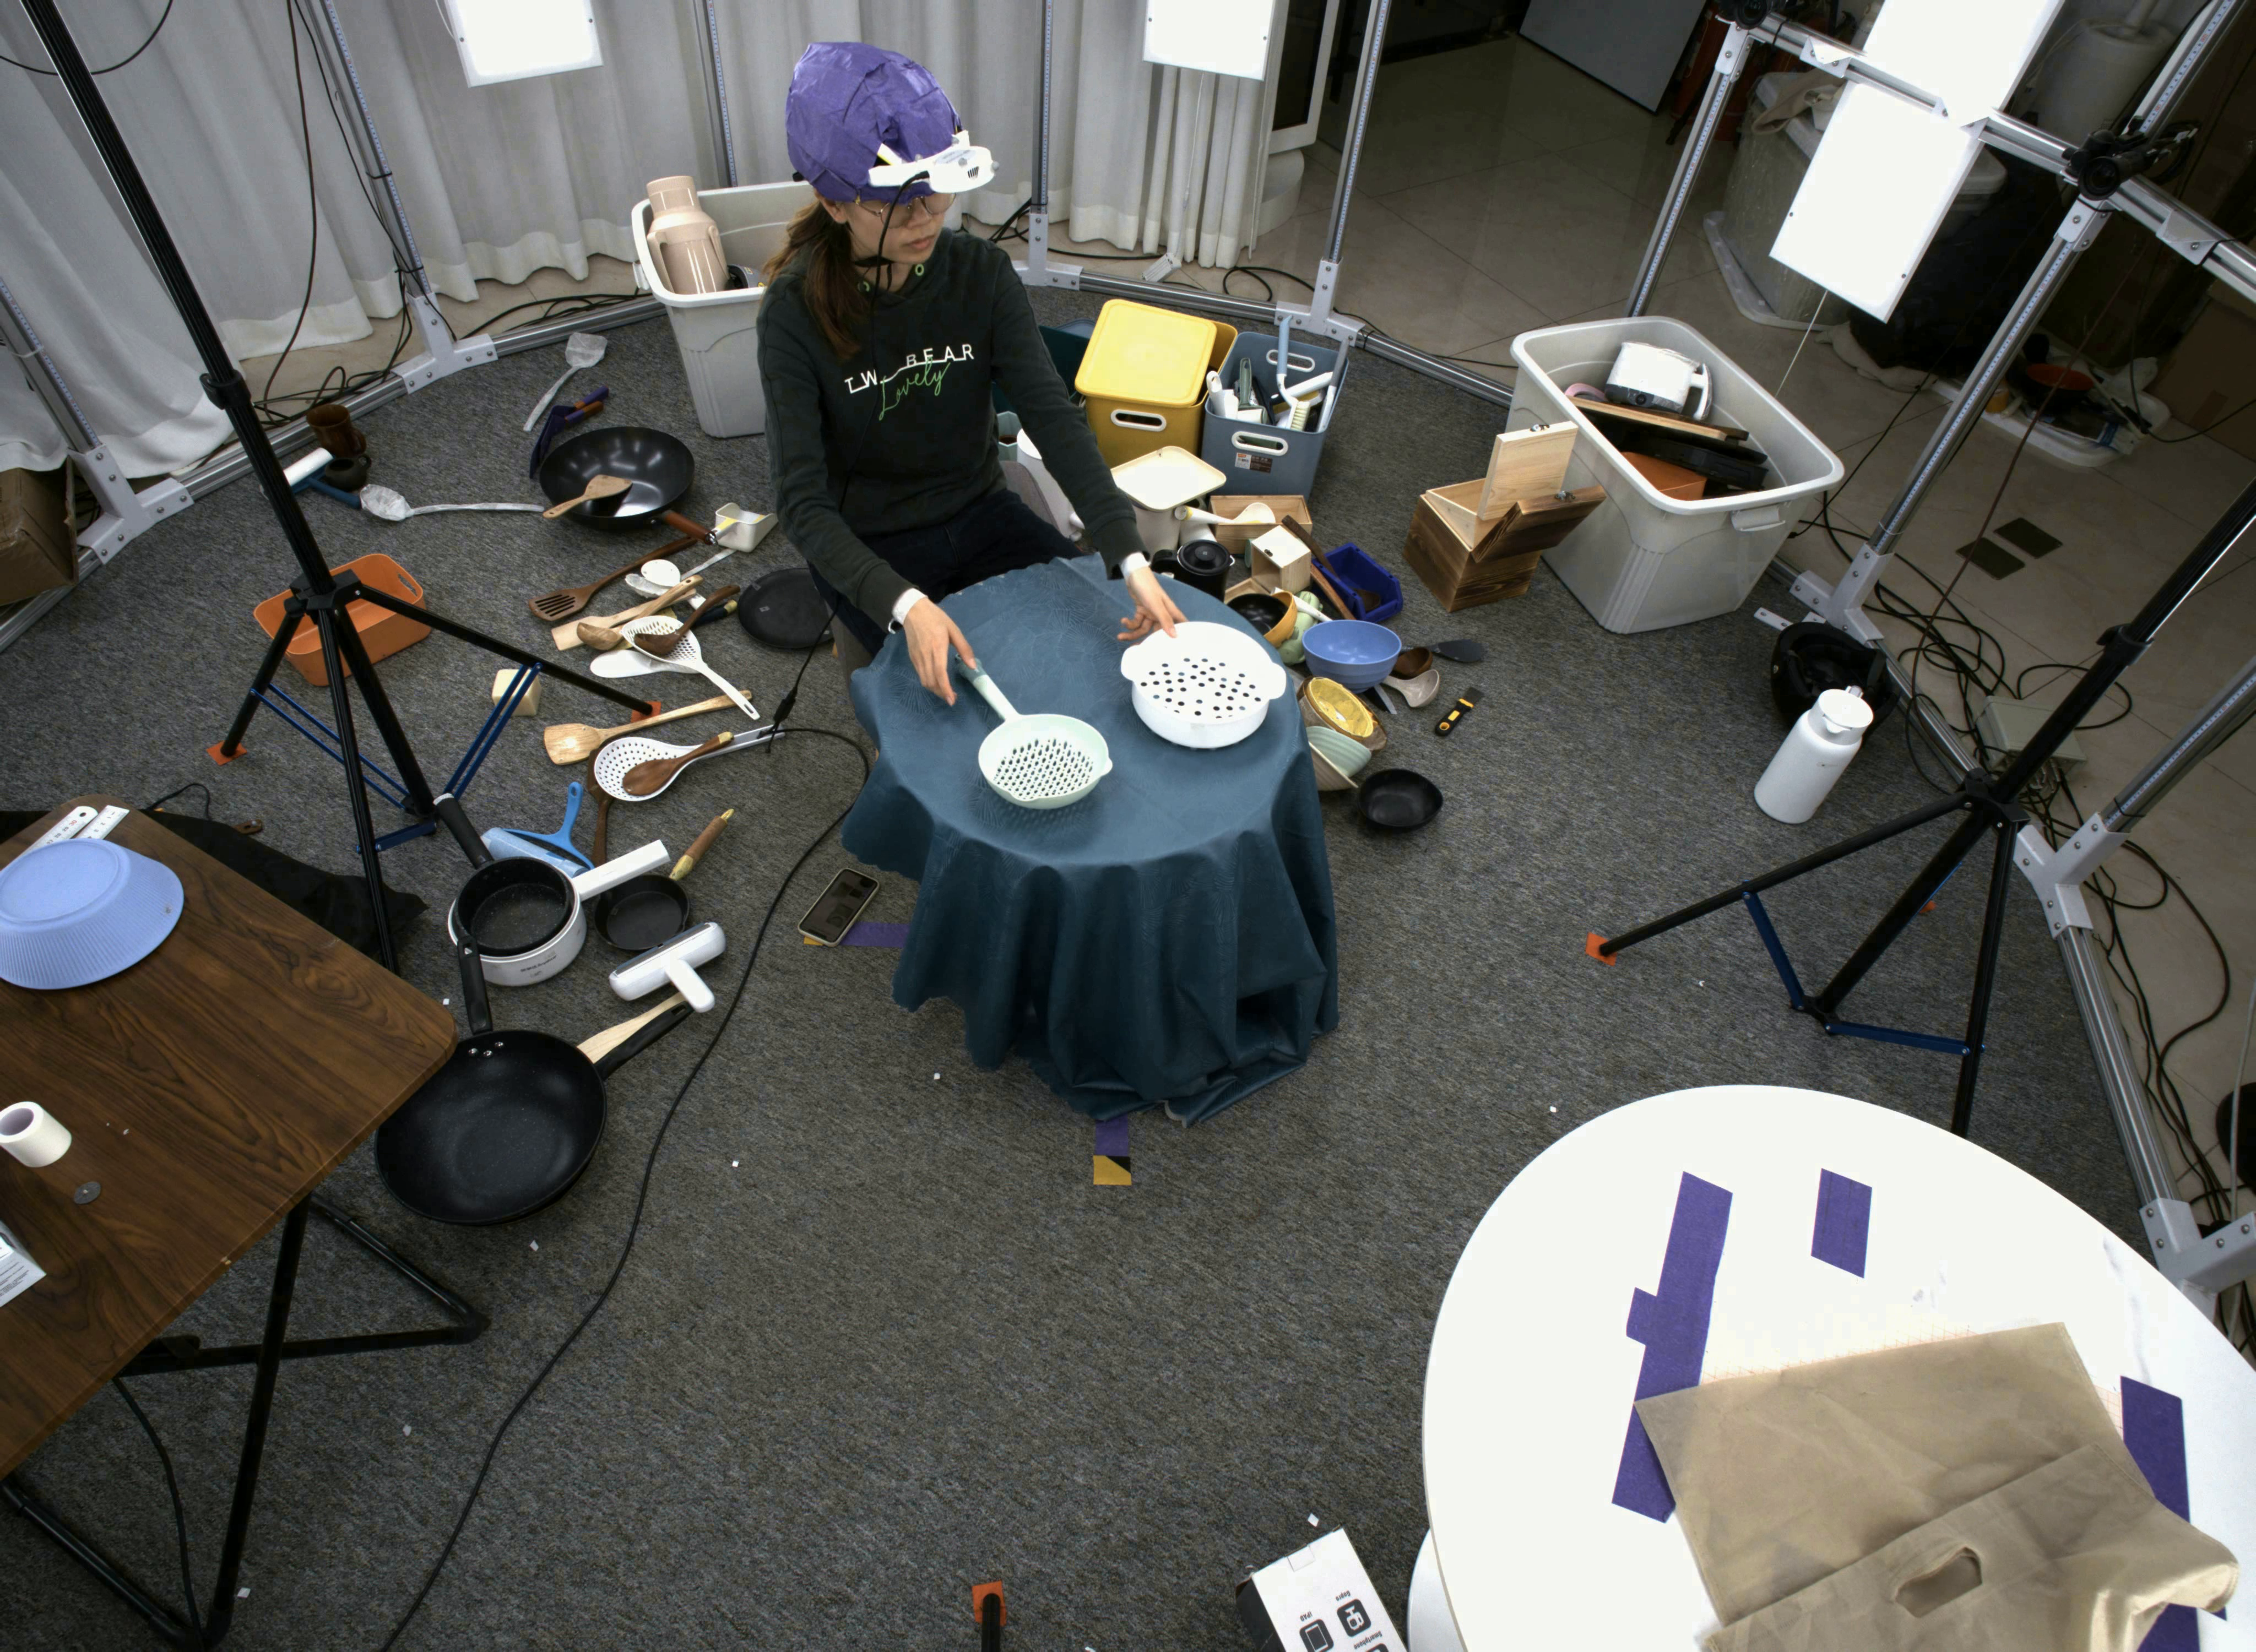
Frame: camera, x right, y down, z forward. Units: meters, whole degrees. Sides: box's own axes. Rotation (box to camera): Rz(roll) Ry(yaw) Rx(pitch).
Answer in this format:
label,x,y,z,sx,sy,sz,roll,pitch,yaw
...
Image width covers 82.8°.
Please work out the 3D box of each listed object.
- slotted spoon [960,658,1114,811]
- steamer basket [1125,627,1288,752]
label,x,y,z,sx,sy,sz,roll,pitch,yaw
slotted spoon,-0.156,-0.142,1.755,0.170,0.073,0.367,-20,53,-20
steamer basket,0.109,-0.194,1.820,0.230,0.067,0.207,6,47,2
